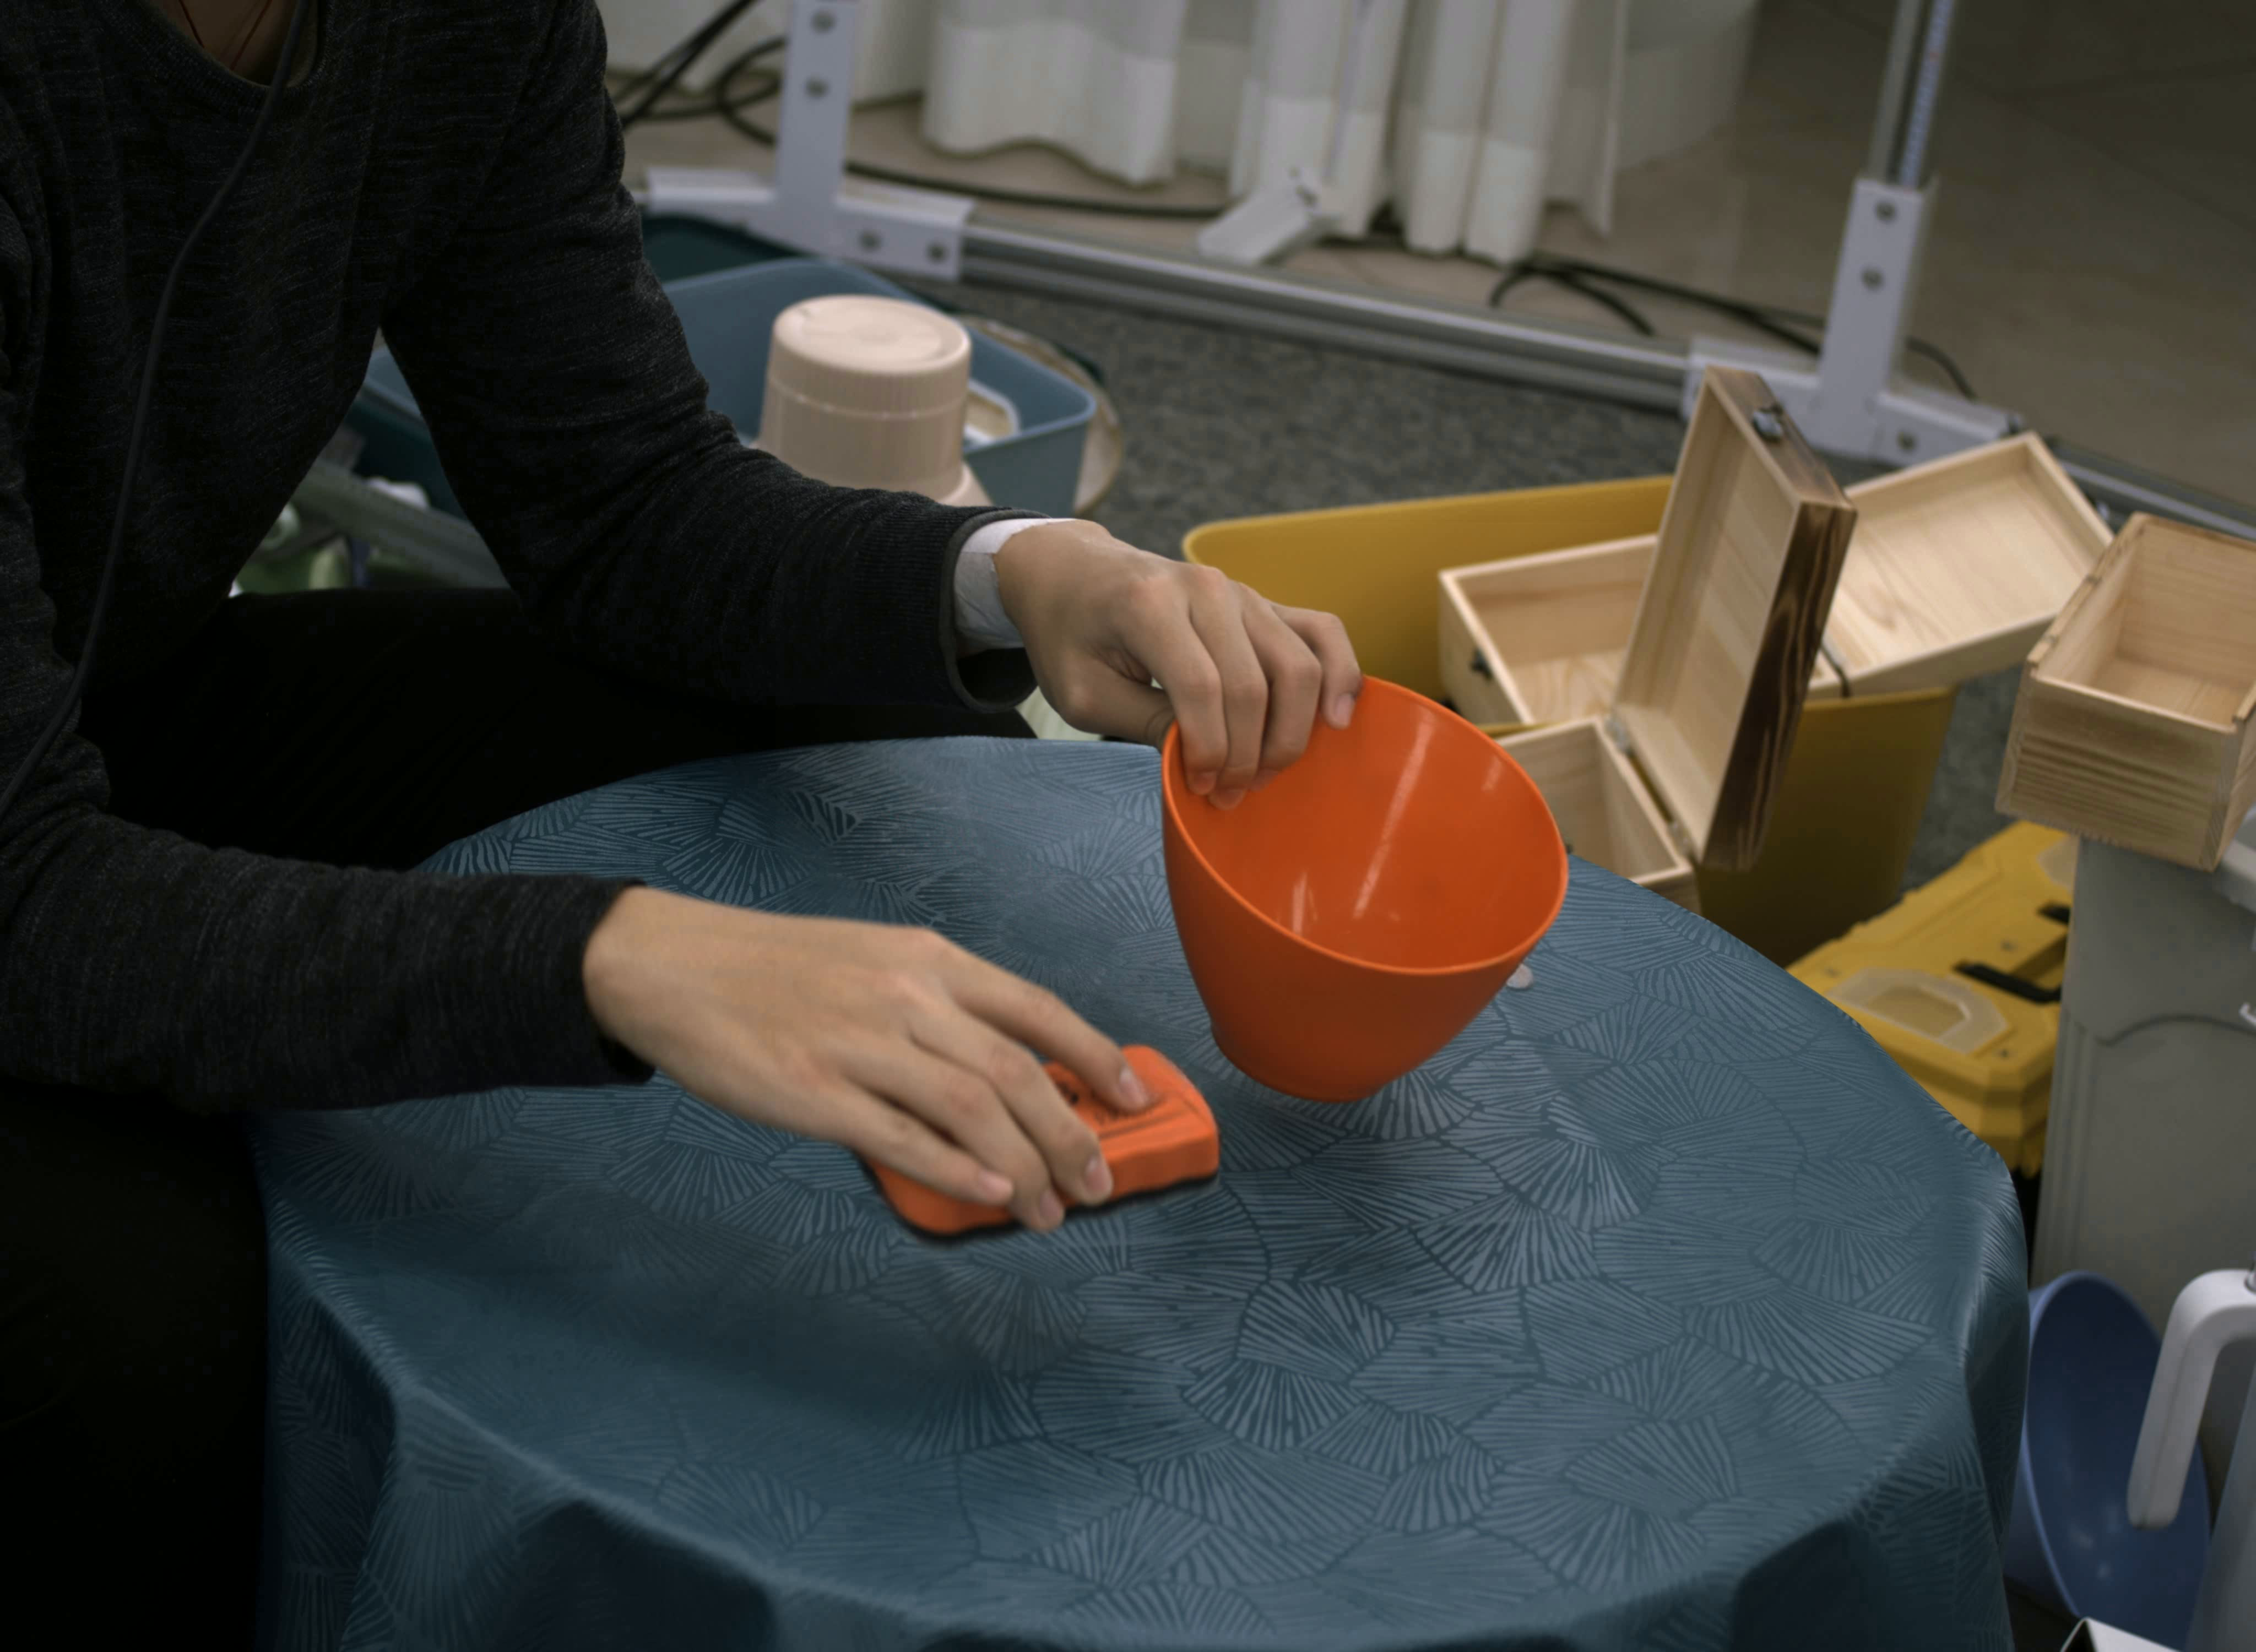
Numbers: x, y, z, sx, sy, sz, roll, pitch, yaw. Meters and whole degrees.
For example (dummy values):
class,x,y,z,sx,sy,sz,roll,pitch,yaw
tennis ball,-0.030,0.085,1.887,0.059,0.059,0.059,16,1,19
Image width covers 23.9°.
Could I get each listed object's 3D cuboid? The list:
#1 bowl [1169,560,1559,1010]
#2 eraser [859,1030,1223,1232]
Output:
class,x,y,z,sx,sy,sz,roll,pitch,yaw
bowl,0.070,-0.002,1.827,0.147,0.104,0.149,35,31,-26
eraser,-0.027,0.096,1.681,0.107,0.023,0.059,-10,34,-27
